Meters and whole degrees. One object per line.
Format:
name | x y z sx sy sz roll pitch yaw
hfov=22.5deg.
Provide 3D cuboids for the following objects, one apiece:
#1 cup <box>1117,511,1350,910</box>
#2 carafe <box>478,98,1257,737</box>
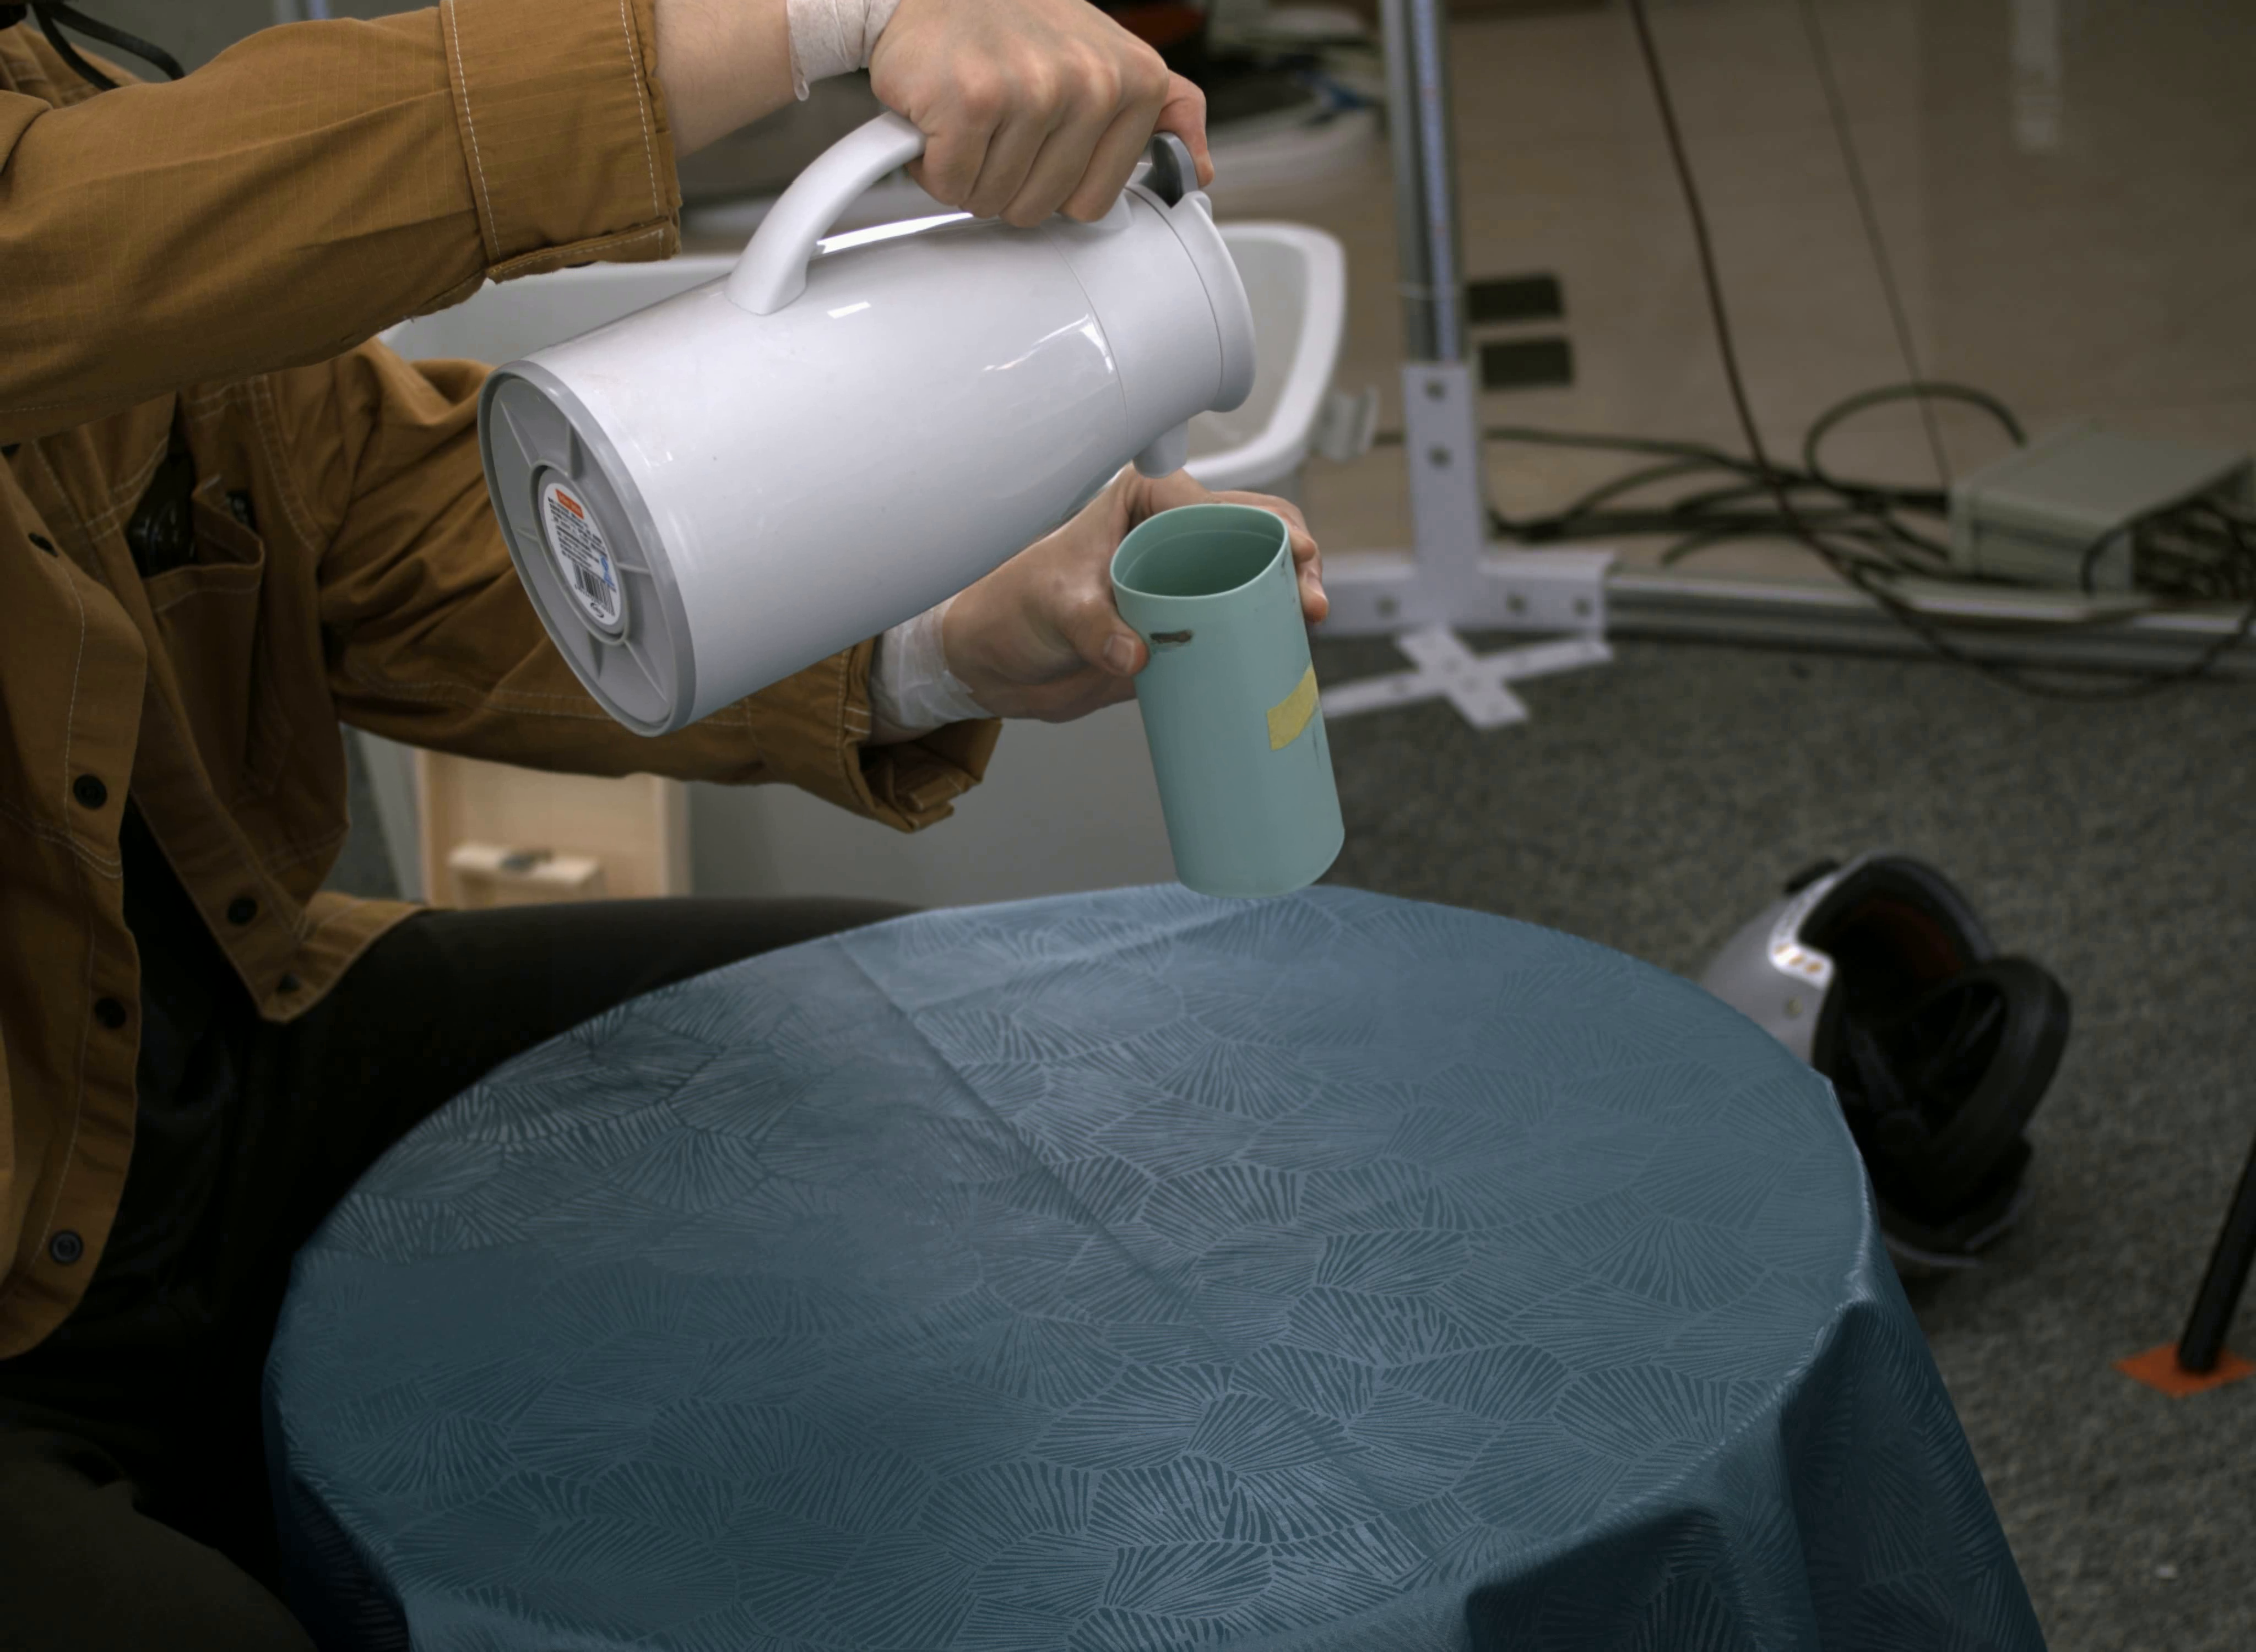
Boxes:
cup | 0.037 -0.041 2.032 0.066 0.135 0.065 -8 35 6
carafe | -0.080 -0.152 1.886 0.247 0.171 0.131 -25 41 -21
